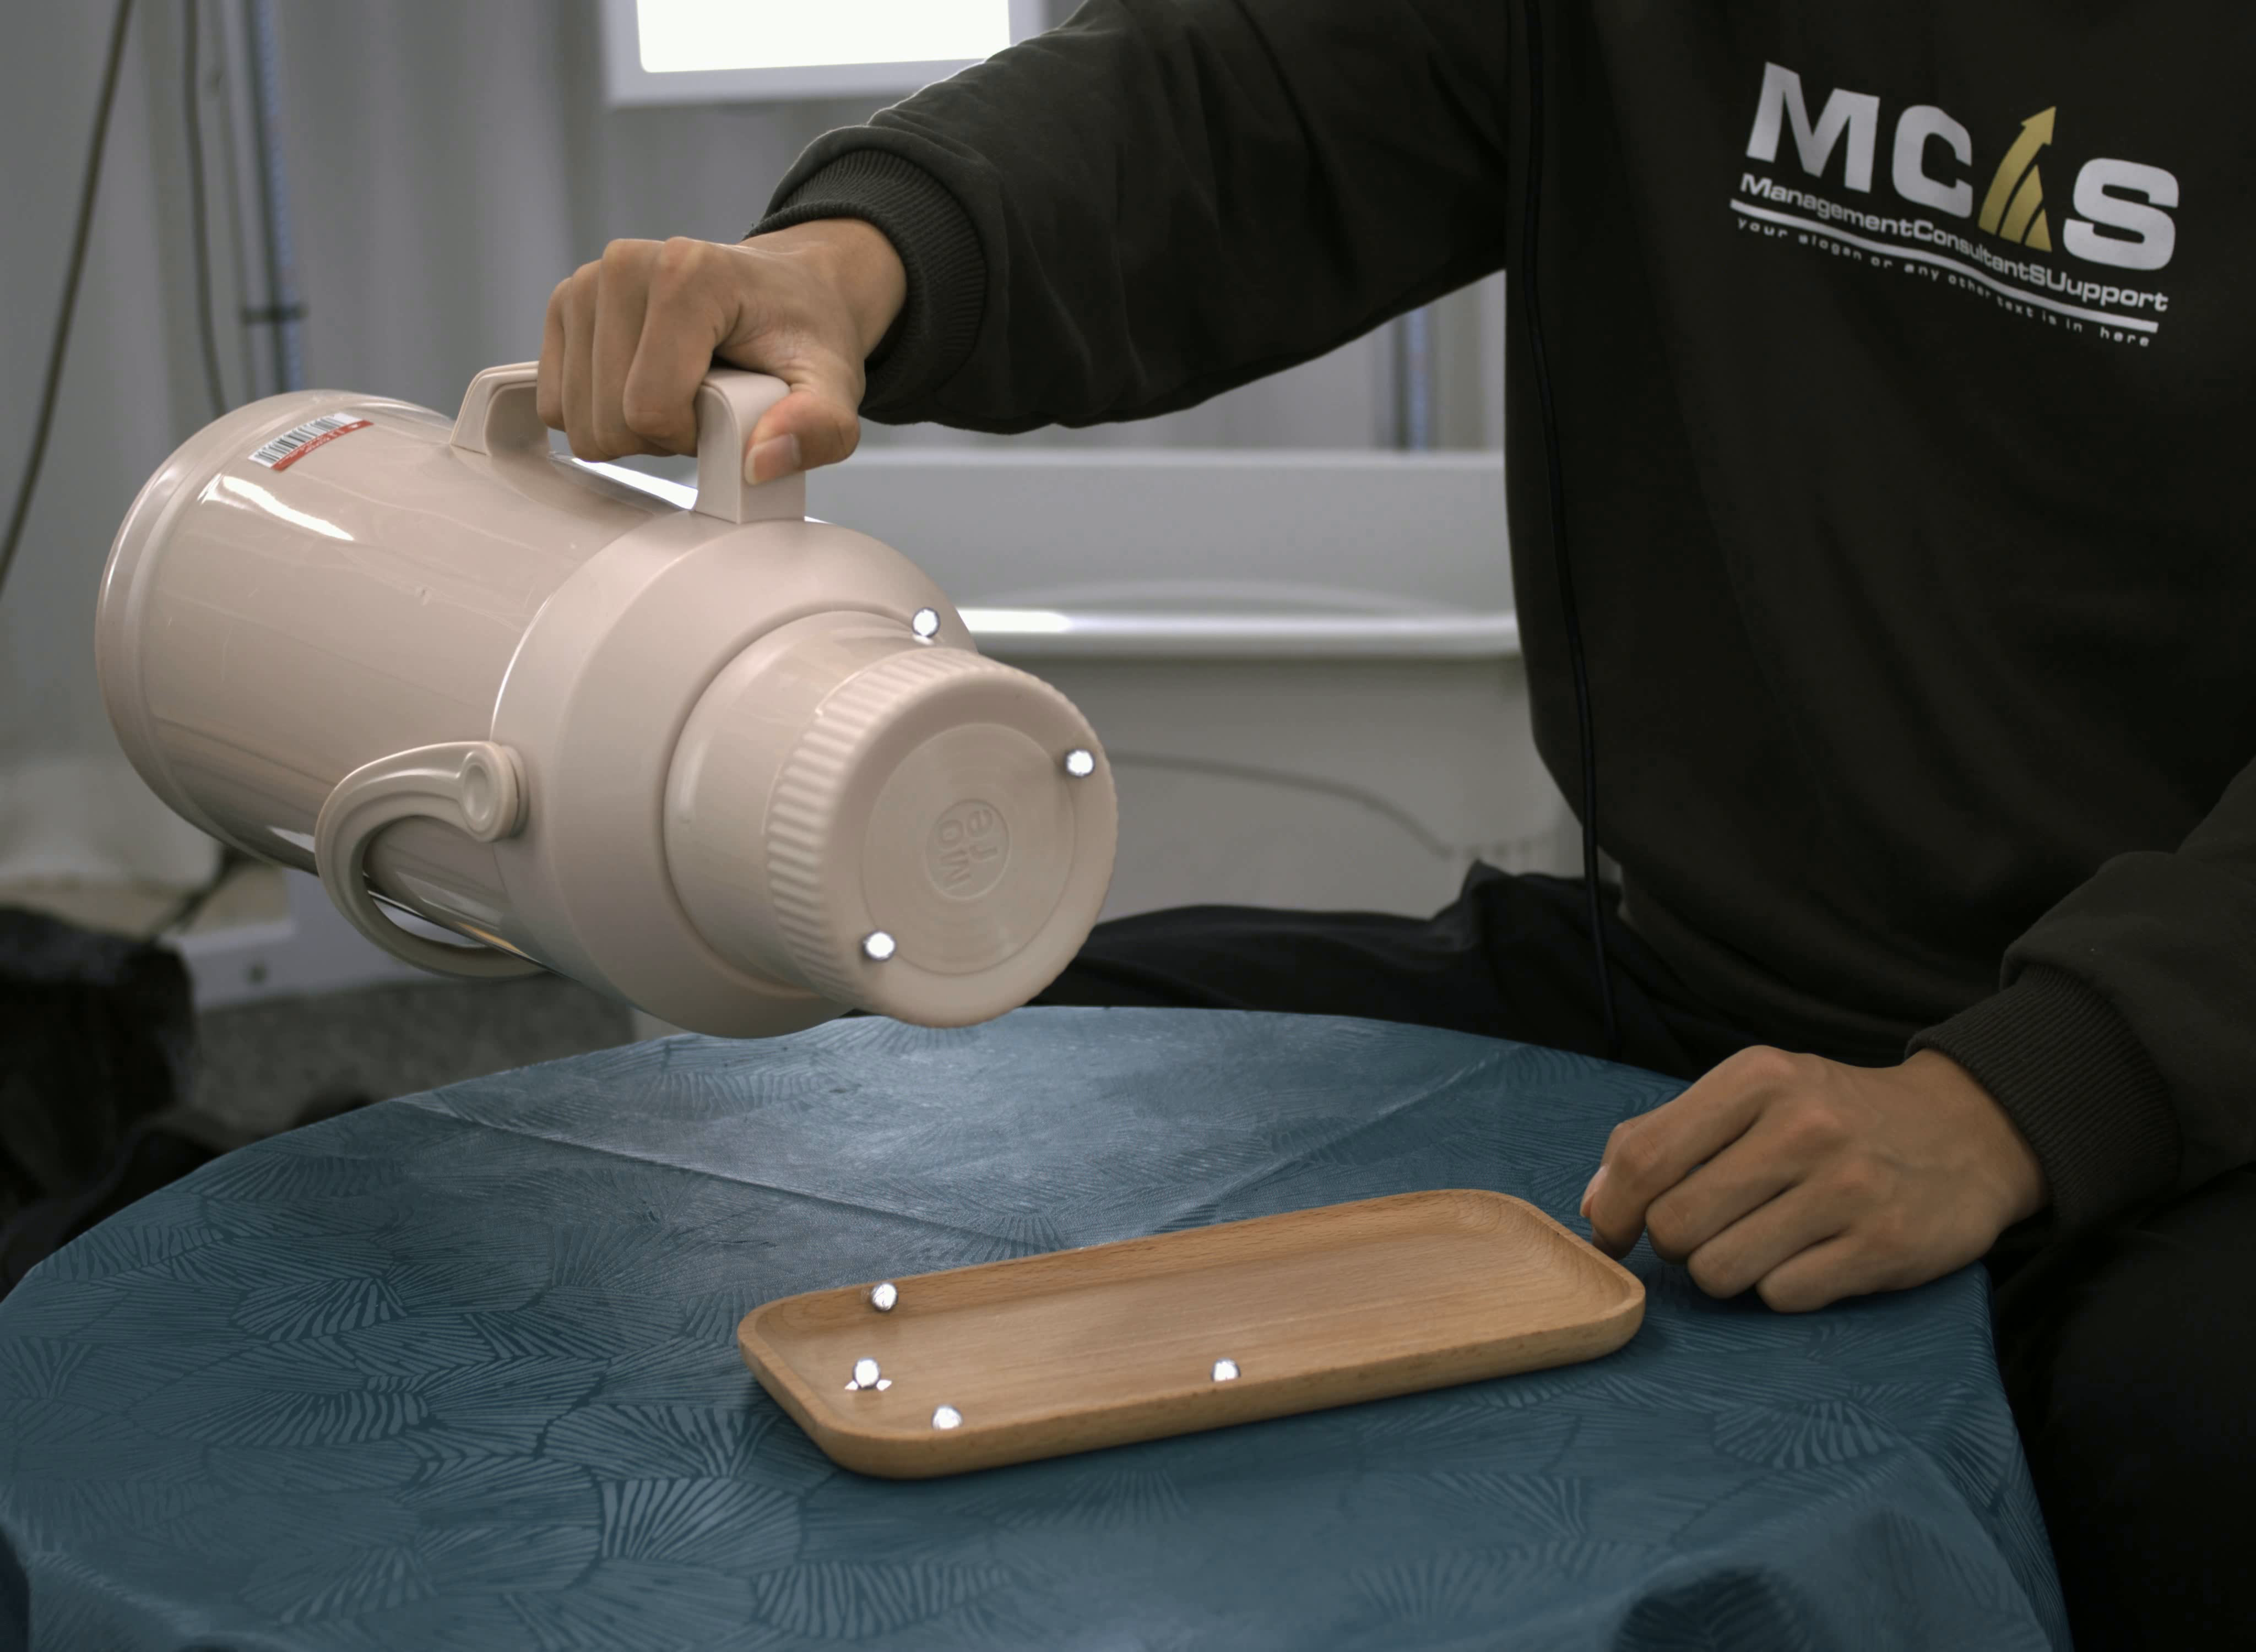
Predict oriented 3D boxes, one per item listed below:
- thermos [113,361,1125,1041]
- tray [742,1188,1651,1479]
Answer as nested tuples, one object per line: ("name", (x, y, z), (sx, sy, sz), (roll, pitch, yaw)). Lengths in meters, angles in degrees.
("thermos", (-0.157, -0.044, 1.692), (0.174, 0.206, 0.409), (-6, 14, -34))
("tray", (0.020, 0.145, 1.572), (0.249, 0.023, 0.132), (-7, 18, -18))
